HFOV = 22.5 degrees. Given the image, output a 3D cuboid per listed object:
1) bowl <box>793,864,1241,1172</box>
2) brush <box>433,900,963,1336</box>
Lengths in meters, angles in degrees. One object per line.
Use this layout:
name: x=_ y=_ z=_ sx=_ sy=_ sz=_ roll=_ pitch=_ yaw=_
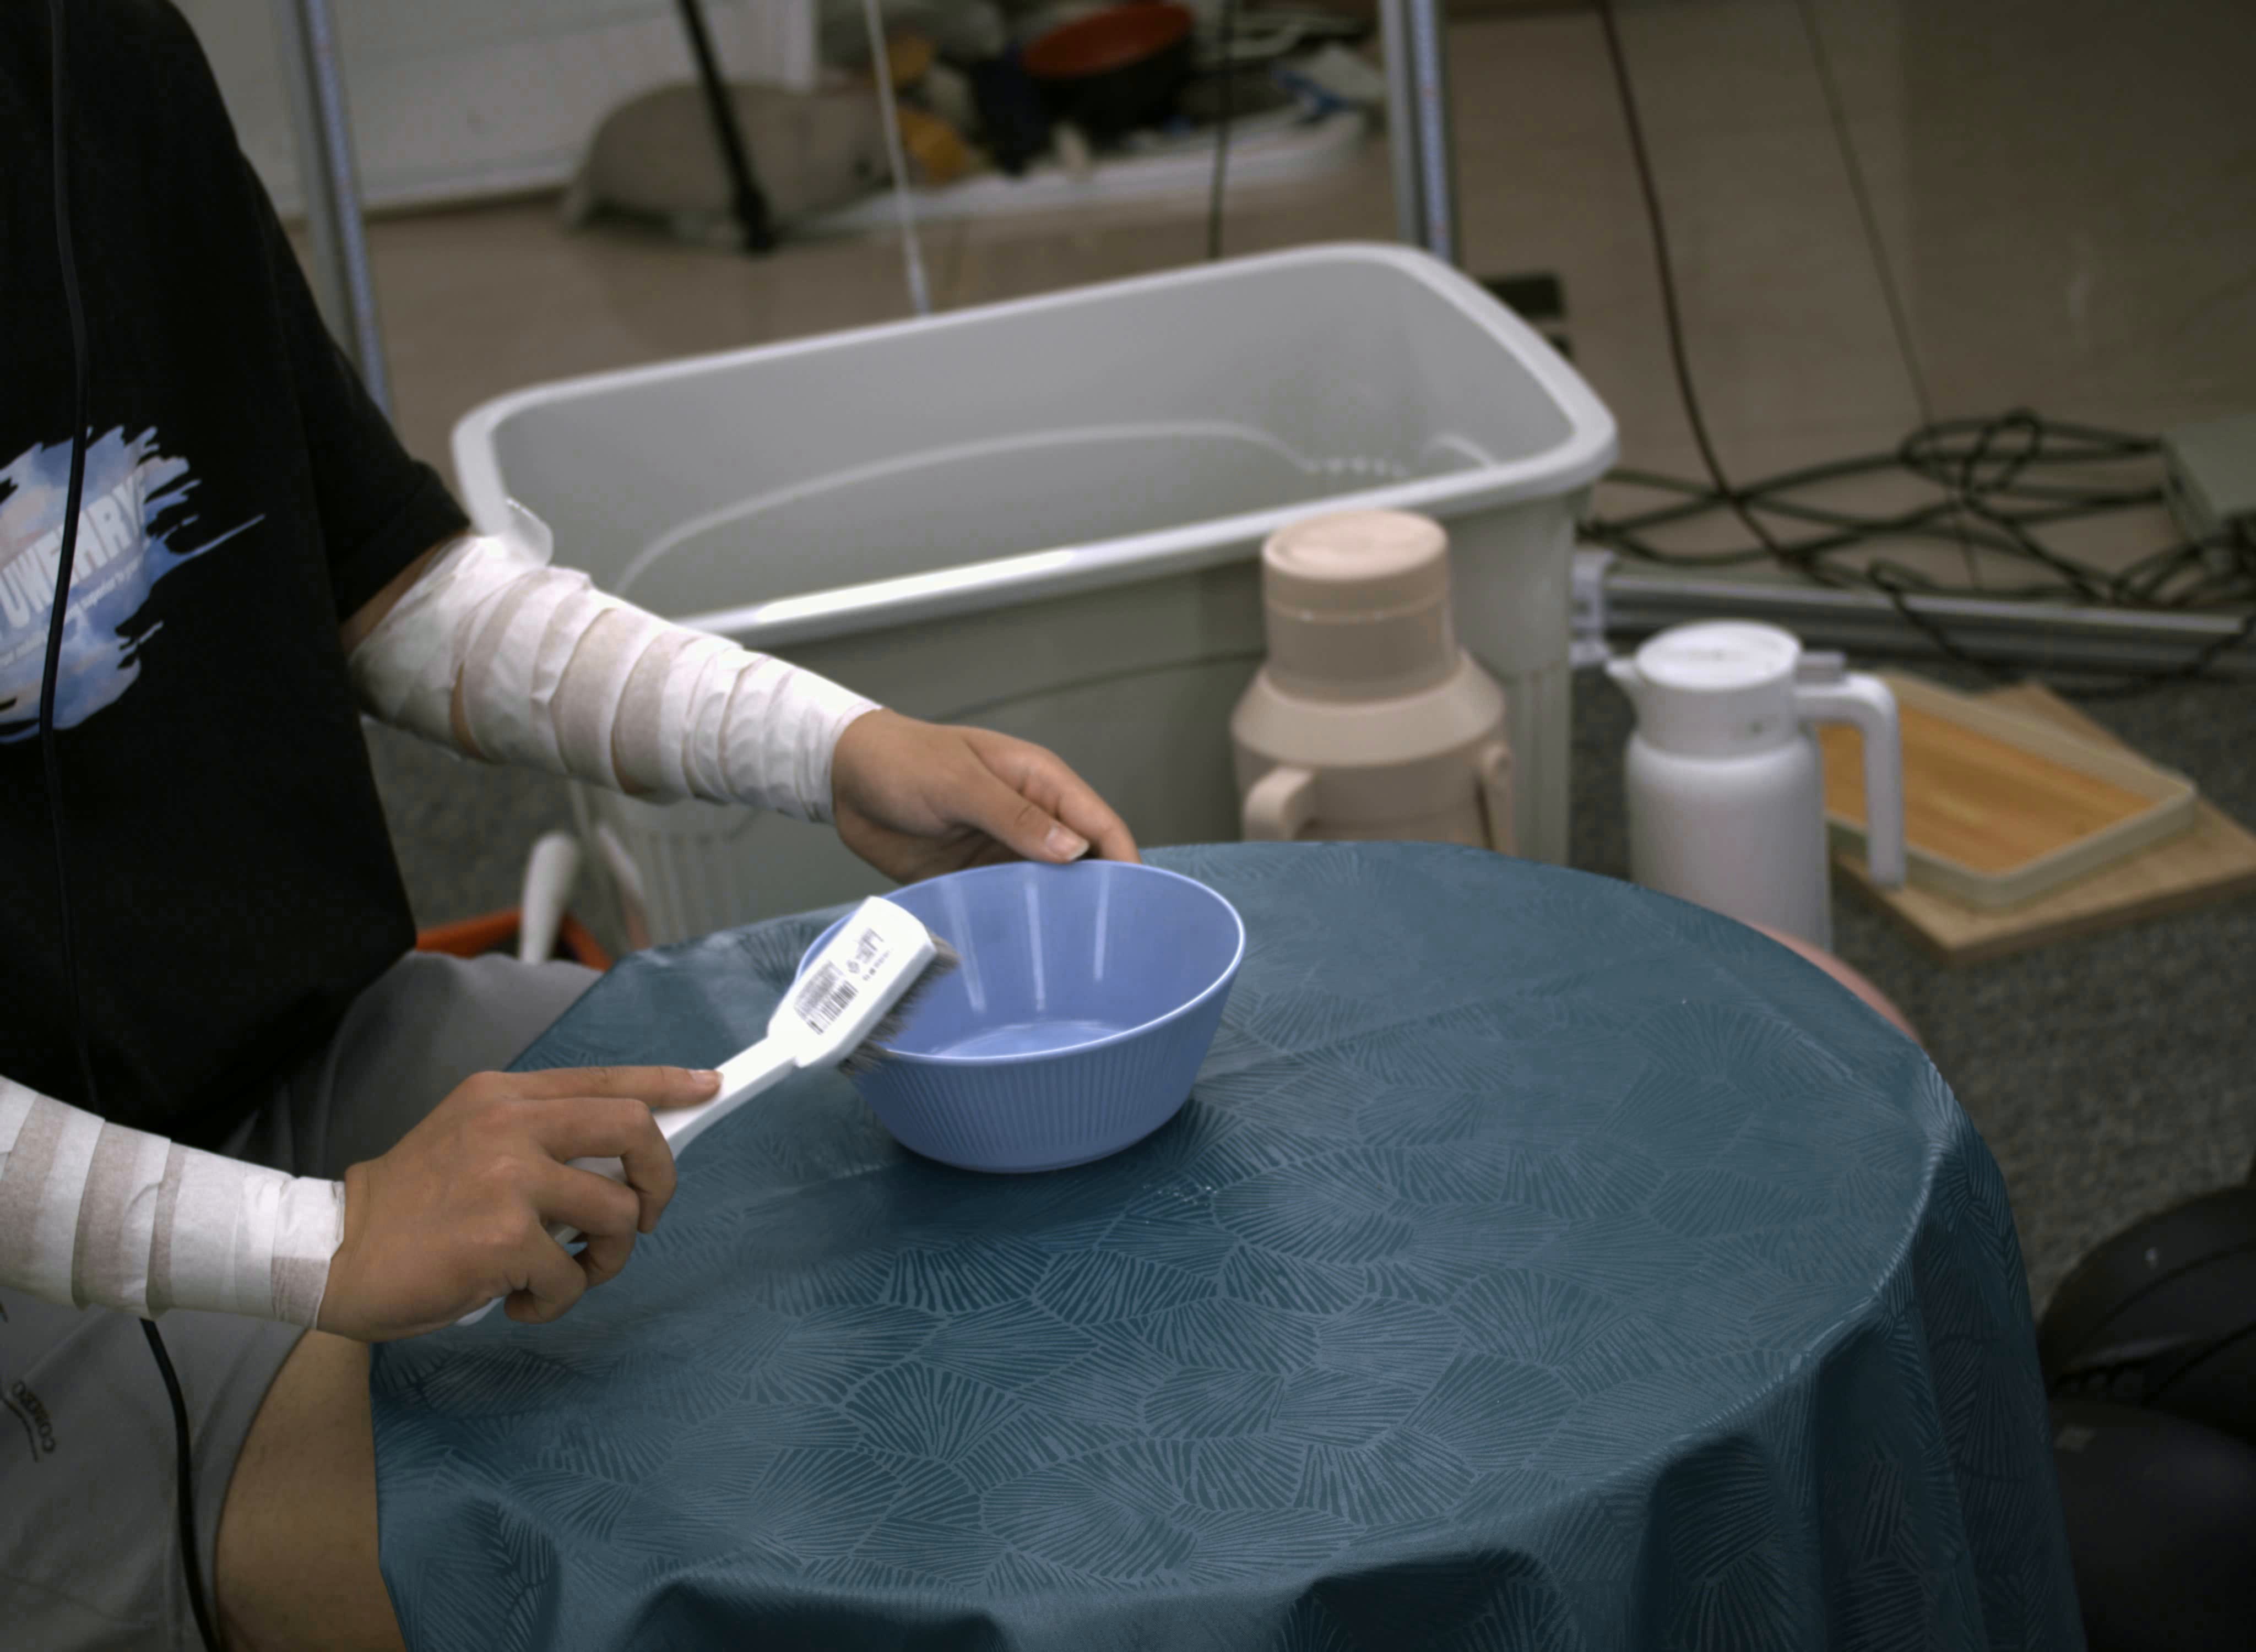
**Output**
bowl: x=-0.040 y=0.080 z=2.200 sx=0.176 sy=0.071 sz=0.173 roll=-6 pitch=24 yaw=3
brush: x=-0.157 y=0.115 z=2.088 sx=0.242 sy=0.051 sz=0.034 roll=-41 pitch=59 yaw=-18
